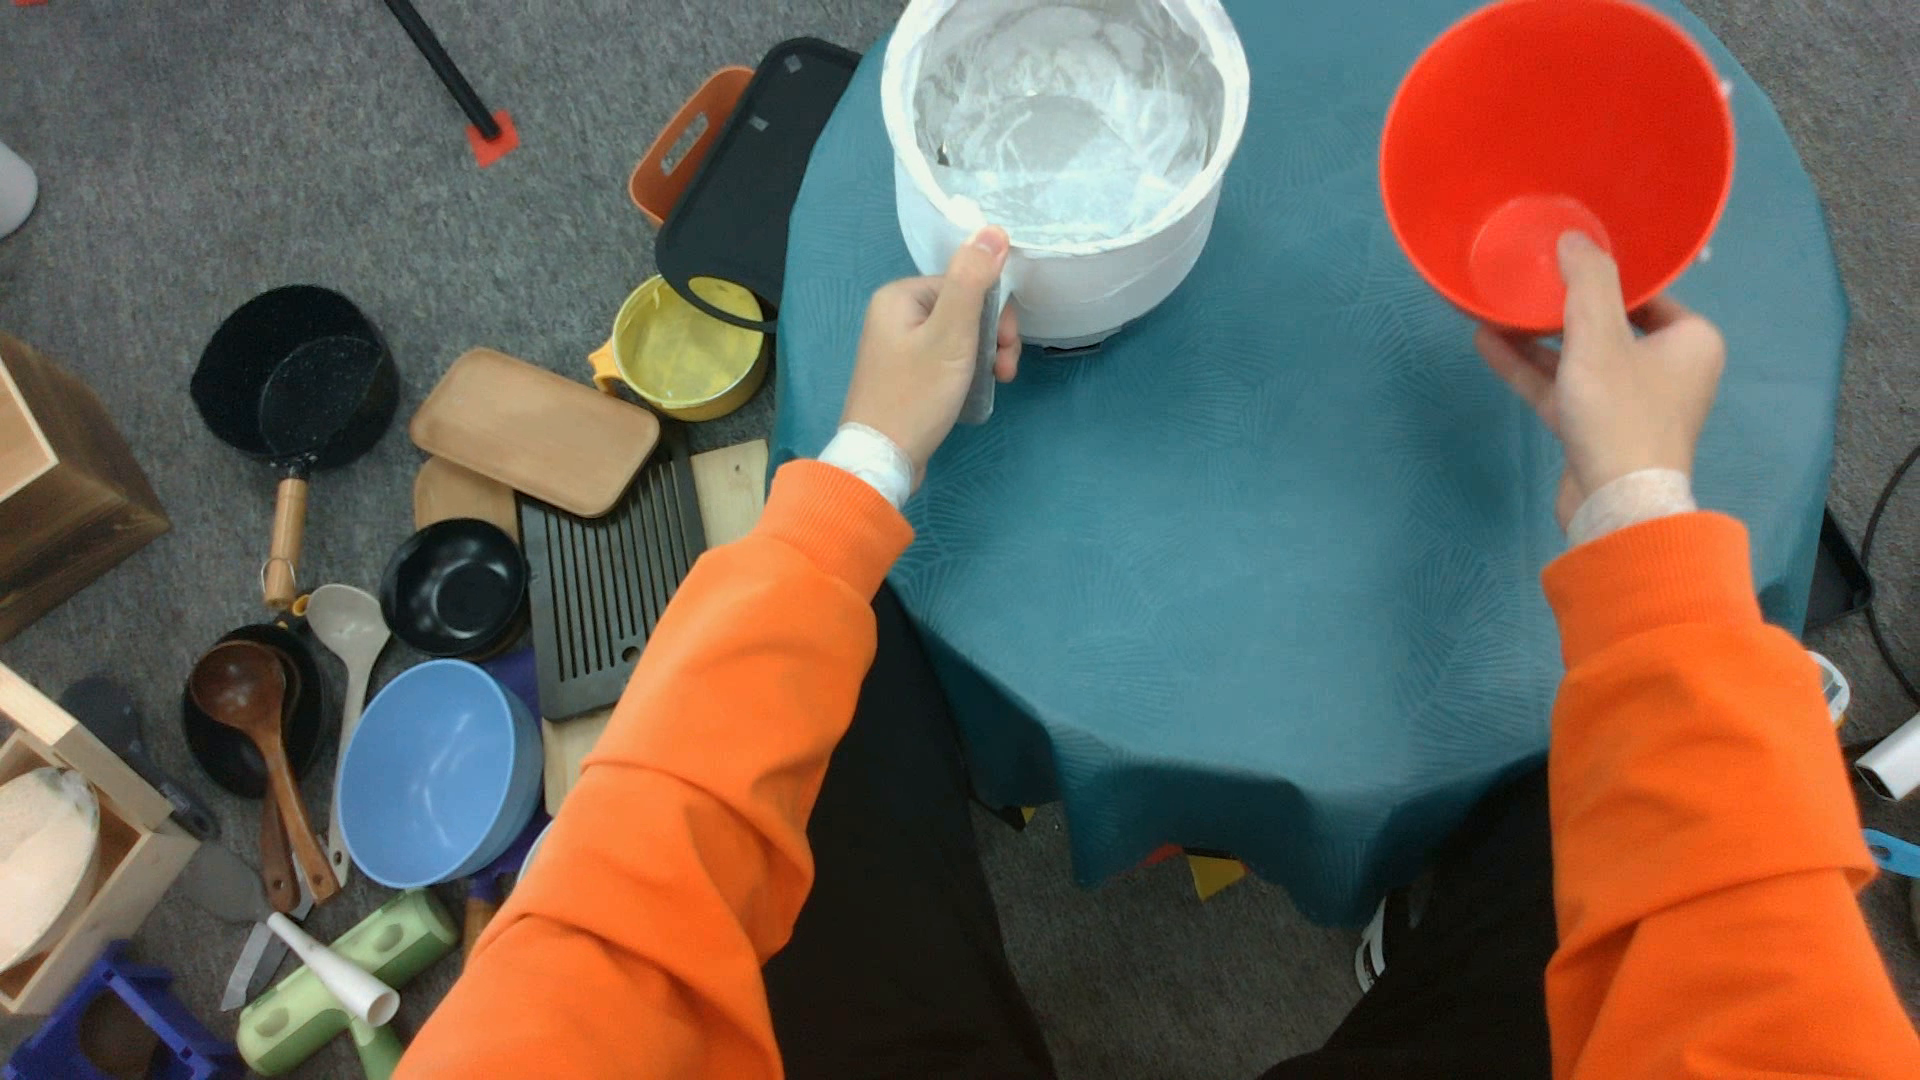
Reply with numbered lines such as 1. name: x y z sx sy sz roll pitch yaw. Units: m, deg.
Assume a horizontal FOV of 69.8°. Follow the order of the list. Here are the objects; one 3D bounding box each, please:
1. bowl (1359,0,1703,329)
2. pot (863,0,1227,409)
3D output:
1. bowl: 0.269 -0.167 0.665 0.148 0.104 0.148 -3 78 14
2. pot: 0.033 -0.187 0.723 0.178 0.136 0.234 20 77 6
